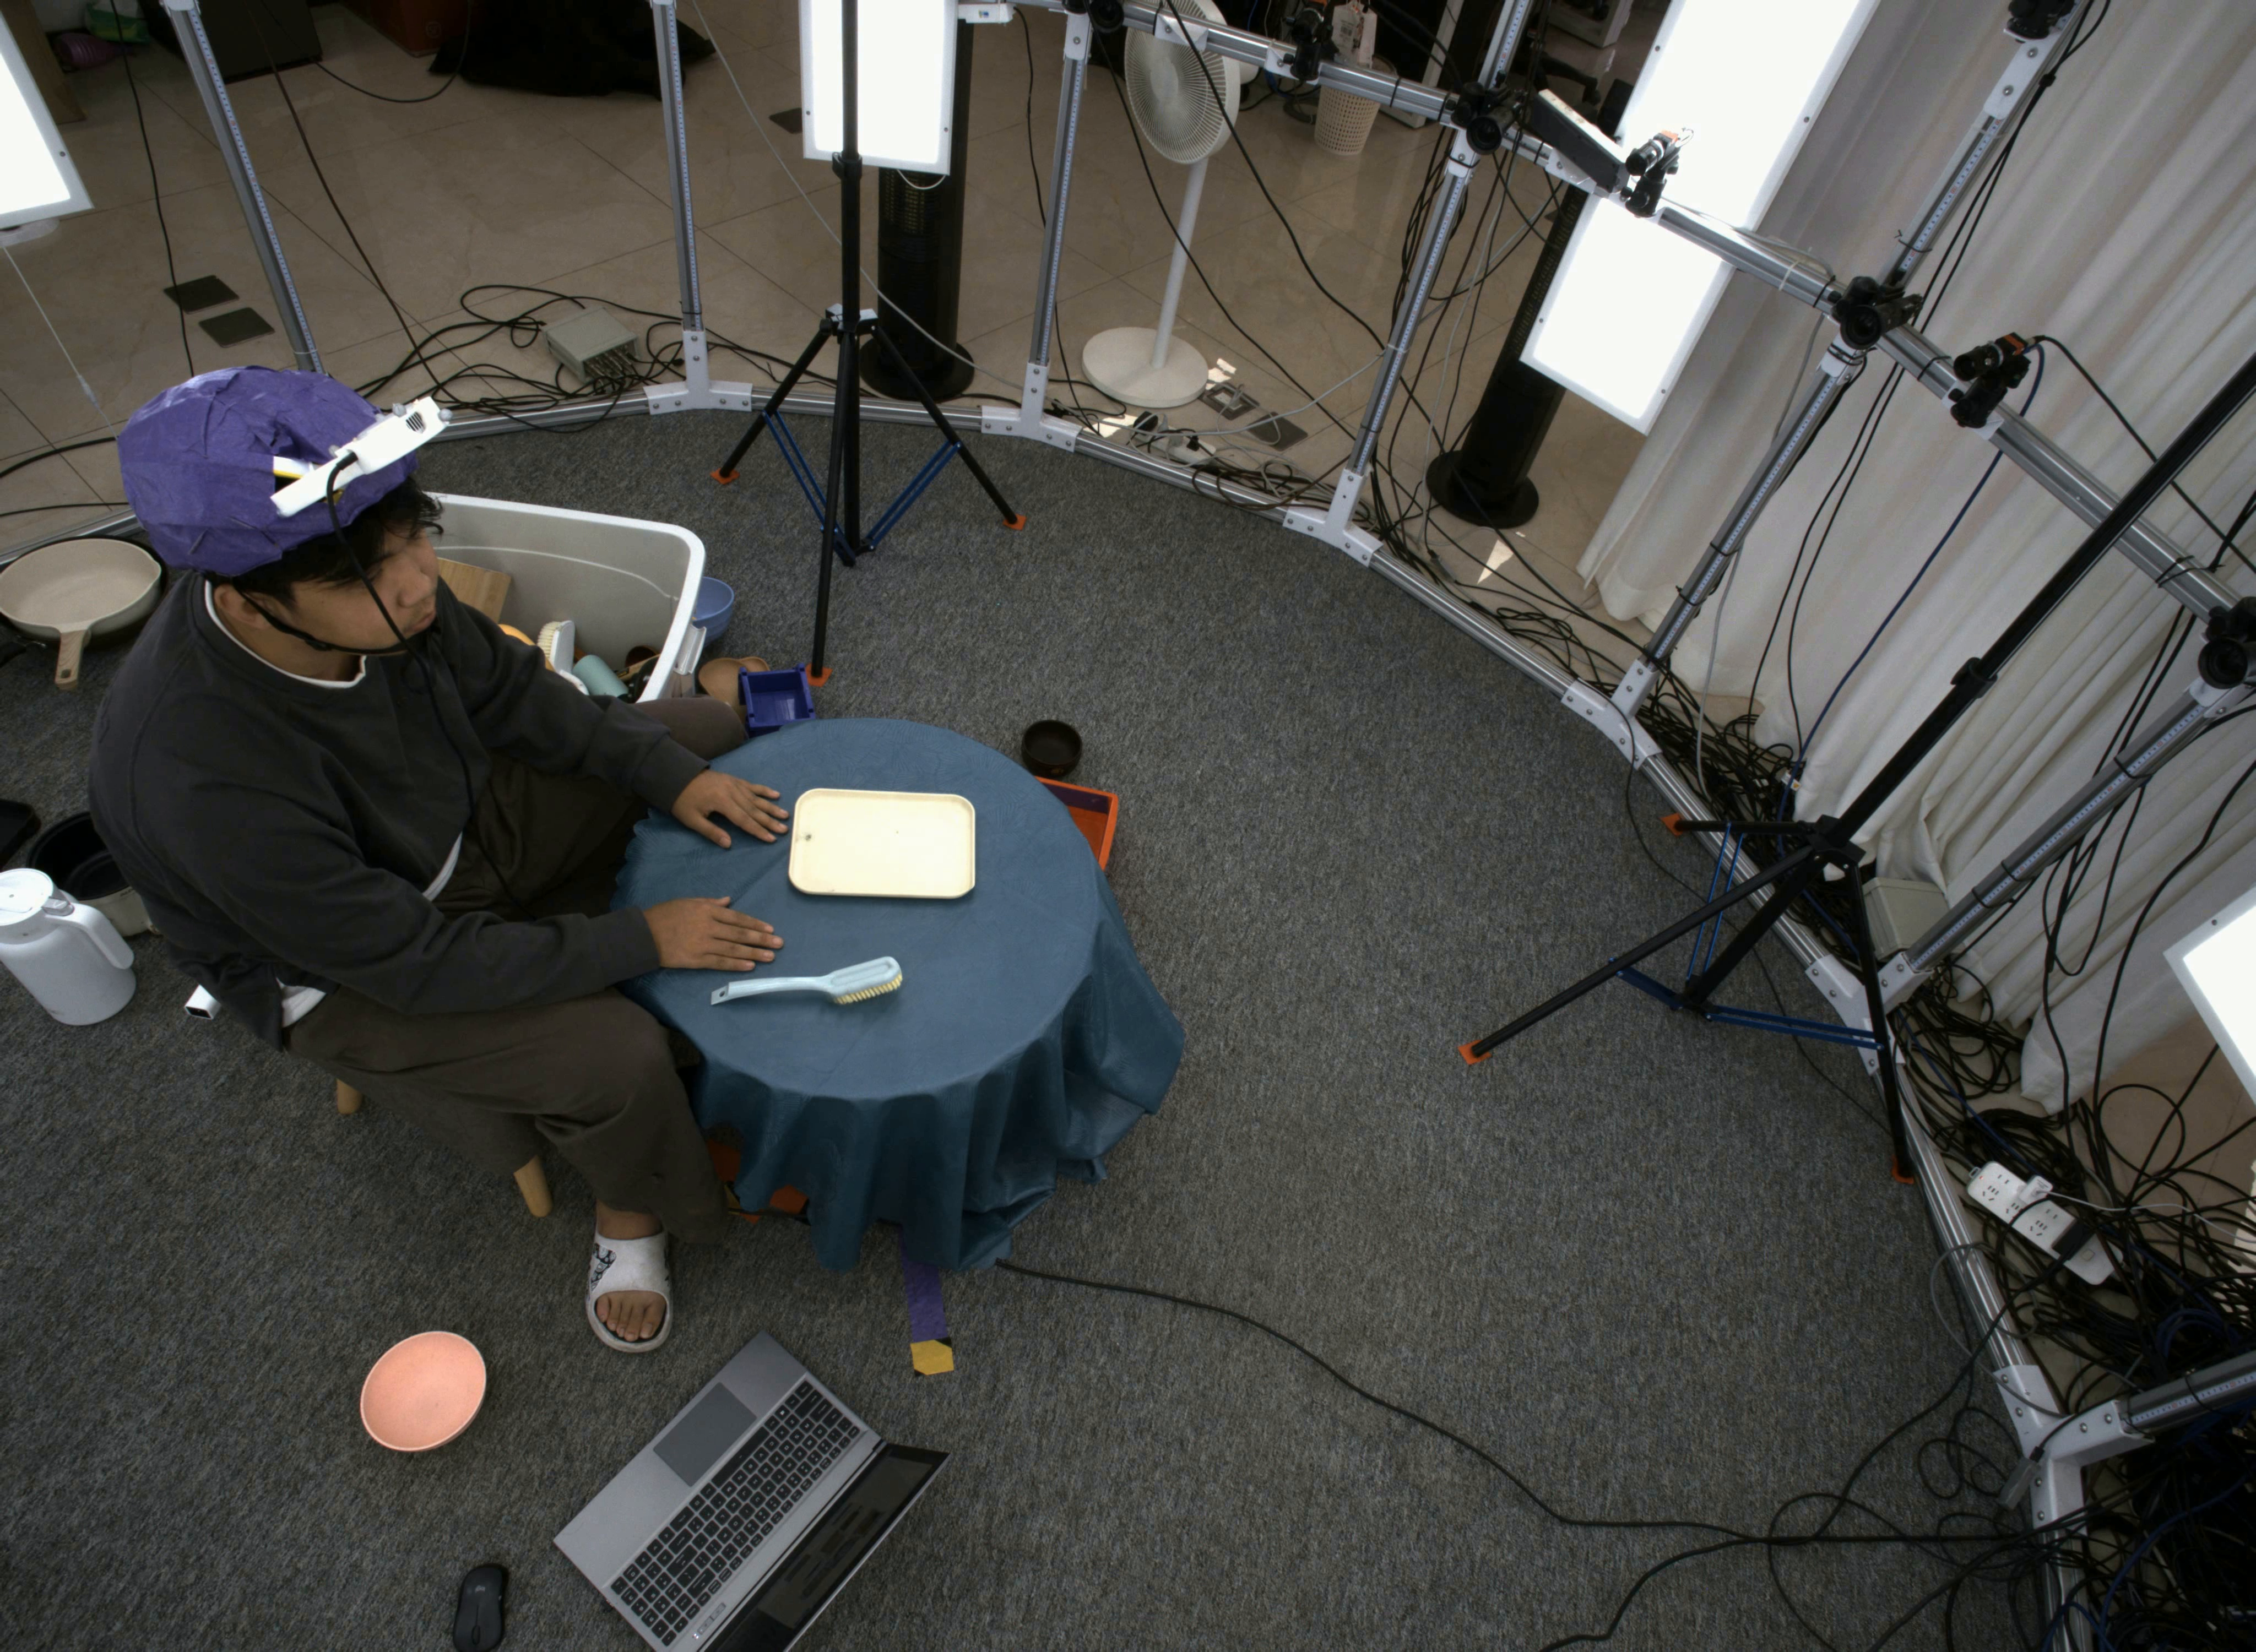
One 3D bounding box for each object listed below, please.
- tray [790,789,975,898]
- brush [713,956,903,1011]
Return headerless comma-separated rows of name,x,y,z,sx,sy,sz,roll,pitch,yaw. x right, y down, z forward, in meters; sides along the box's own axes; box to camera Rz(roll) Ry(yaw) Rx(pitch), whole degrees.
tray,-0.321,0.023,1.717,0.239,0.018,0.168,3,53,-12
brush,-0.385,0.196,1.563,0.228,0.051,0.037,-9,48,-9
